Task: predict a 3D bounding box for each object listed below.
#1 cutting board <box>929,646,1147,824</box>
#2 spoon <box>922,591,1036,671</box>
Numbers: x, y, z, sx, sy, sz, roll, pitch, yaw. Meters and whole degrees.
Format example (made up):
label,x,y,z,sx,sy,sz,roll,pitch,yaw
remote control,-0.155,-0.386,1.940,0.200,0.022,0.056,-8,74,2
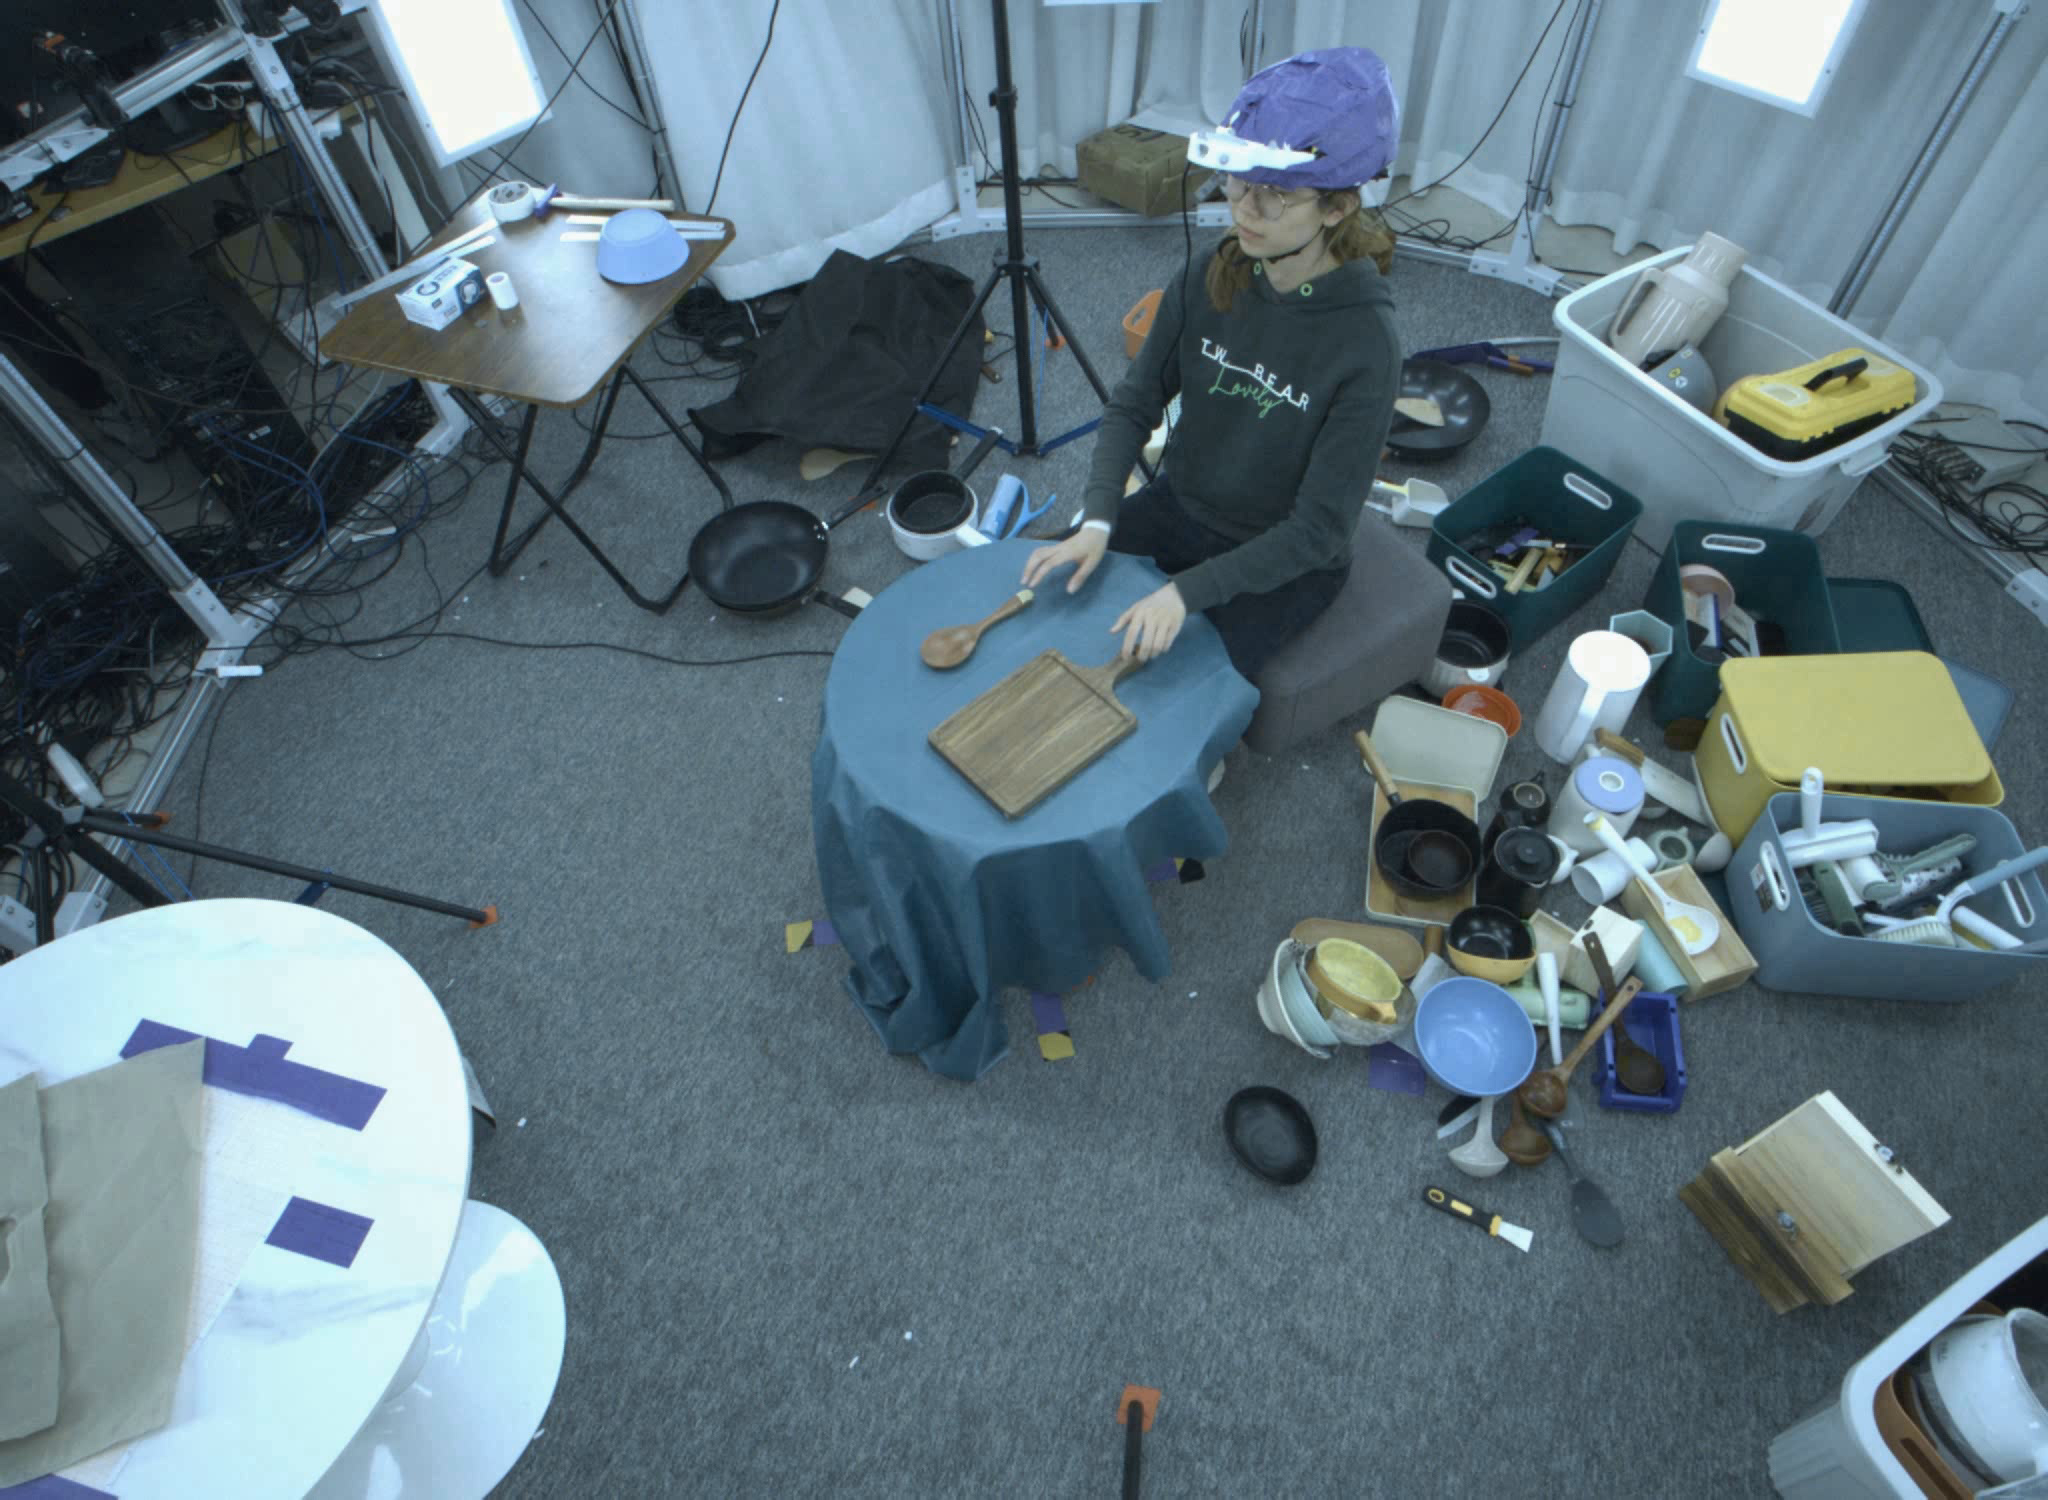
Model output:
label,x,y,z,sx,sy,sz,roll,pitch,yaw
cutting board,0.052,-0.051,1.821,0.355,0.023,0.197,-37,61,-22
spoon,-0.066,-0.187,1.920,0.217,0.017,0.074,-36,60,-21
